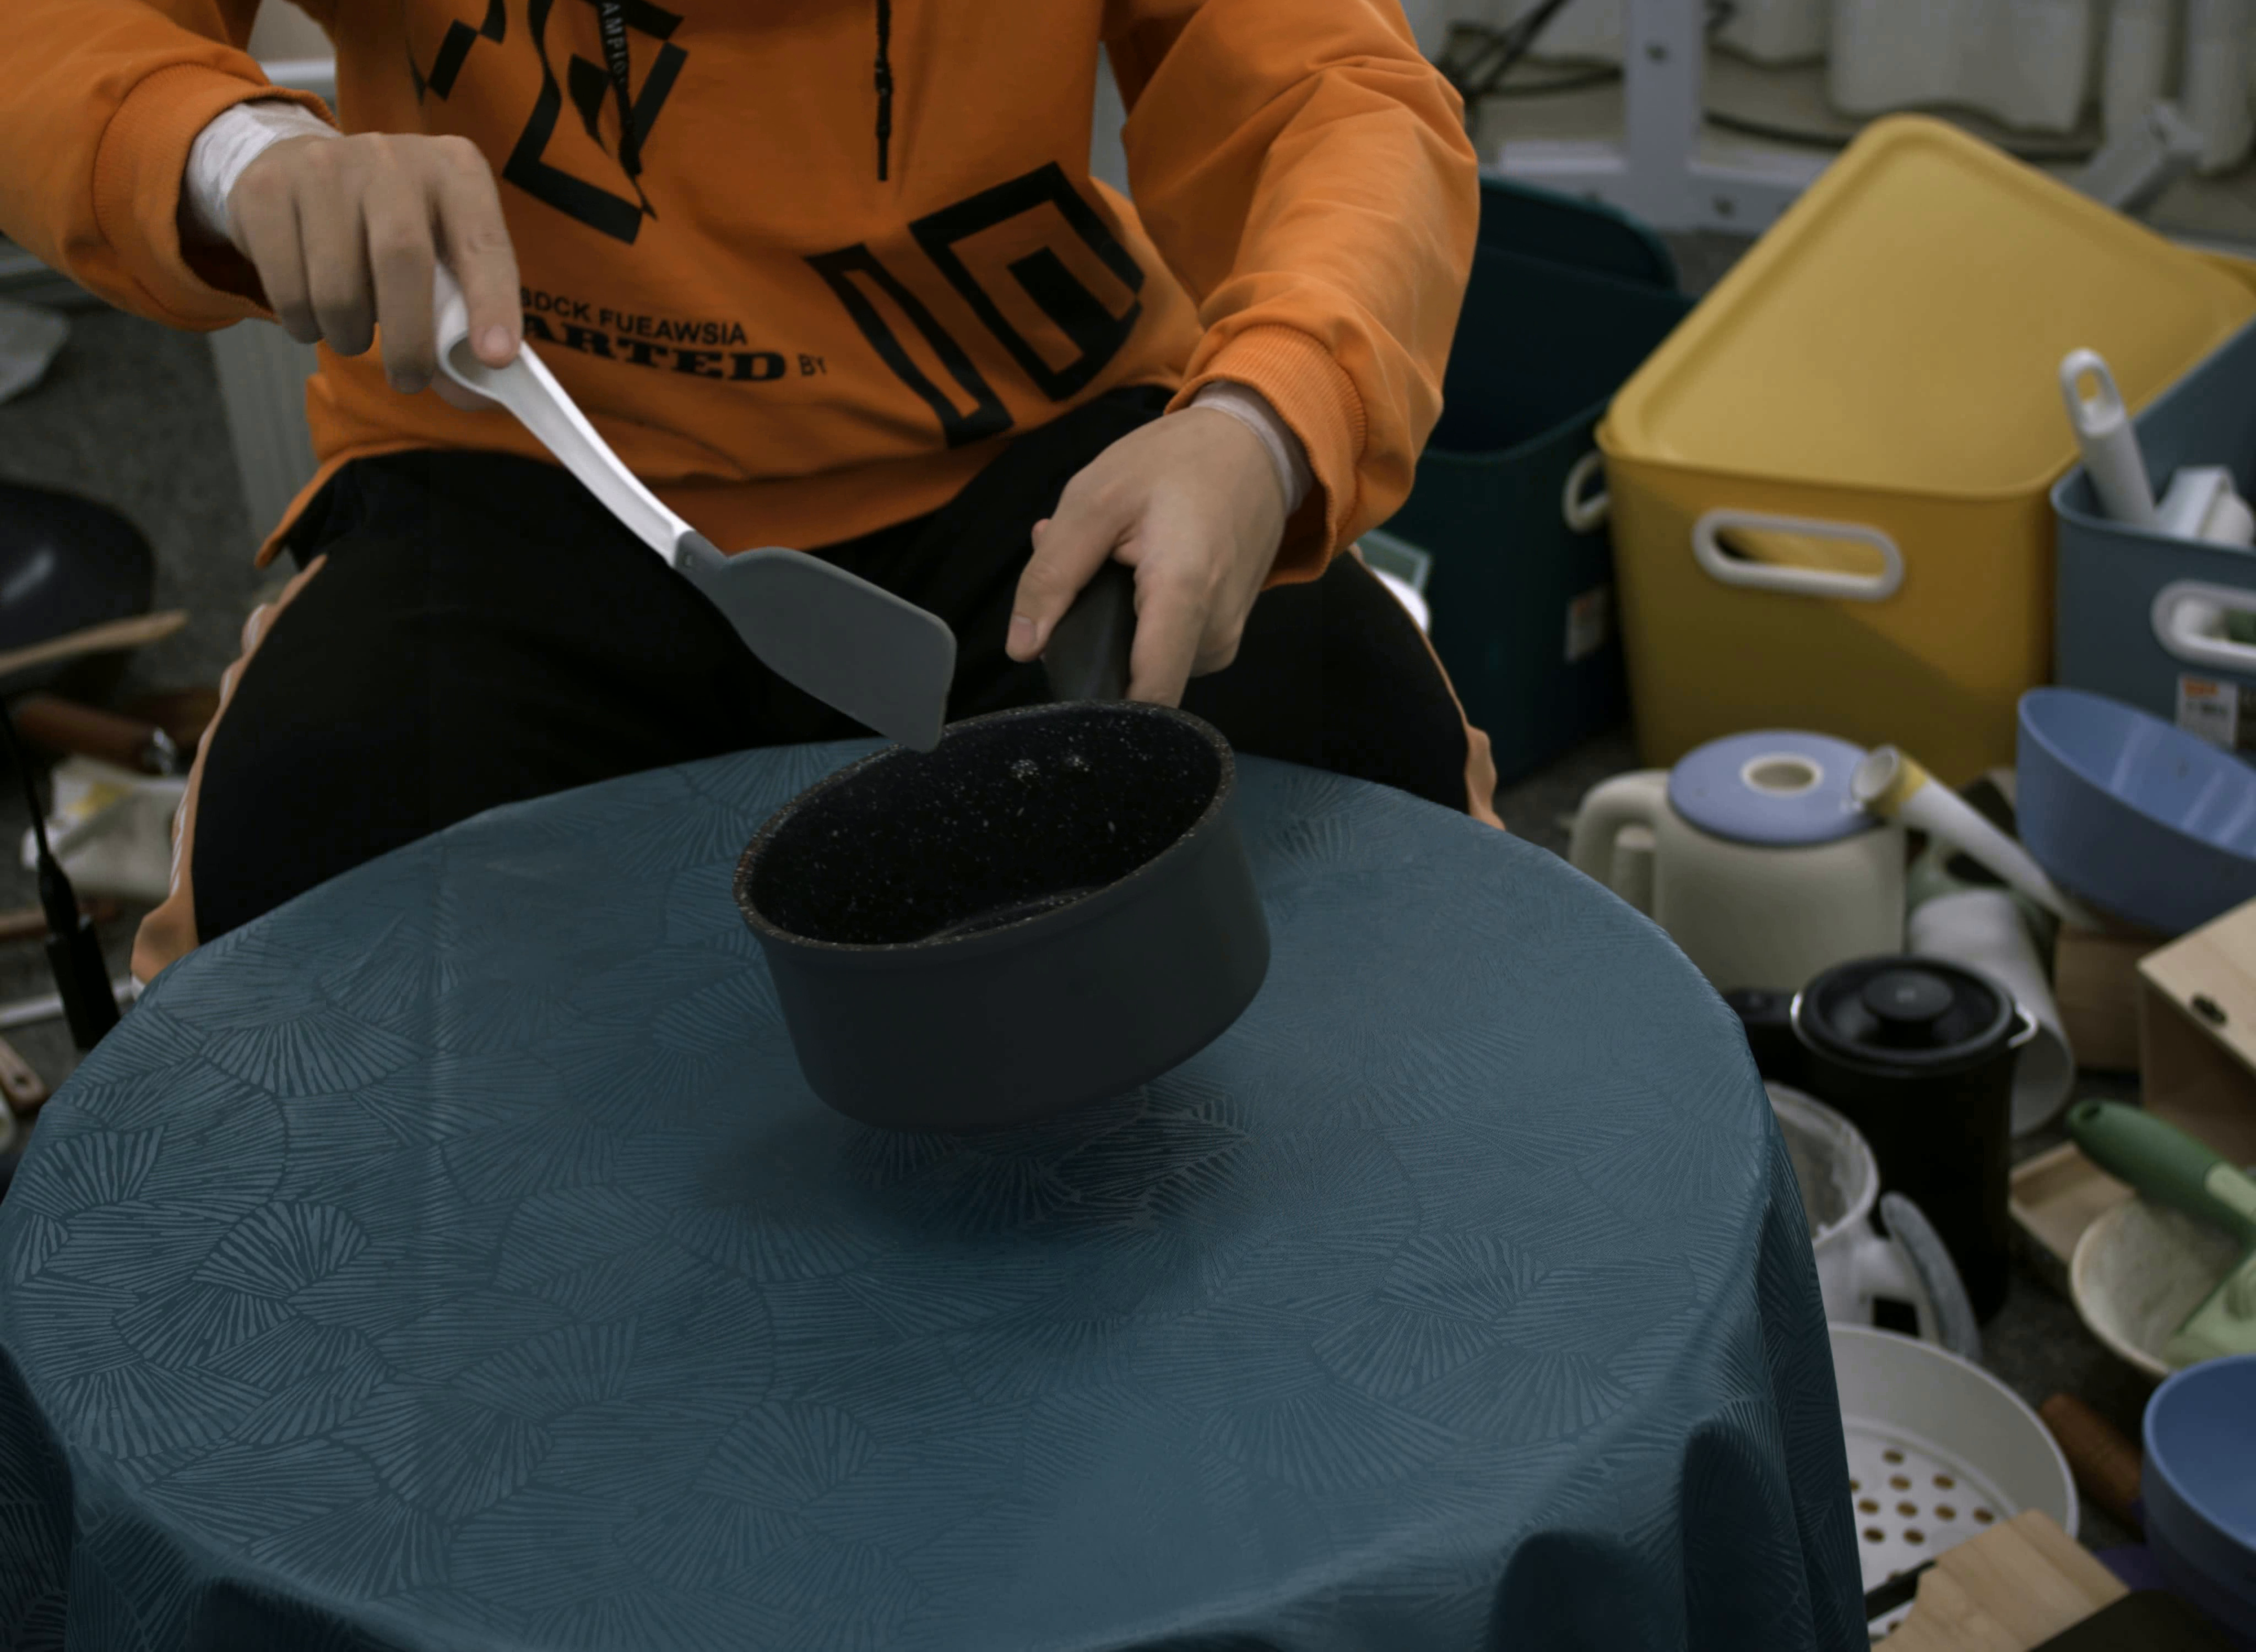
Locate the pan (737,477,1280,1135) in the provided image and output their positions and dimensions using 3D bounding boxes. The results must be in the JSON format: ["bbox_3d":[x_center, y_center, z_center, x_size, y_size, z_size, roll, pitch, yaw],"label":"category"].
[{"bbox_3d":[-0.019,-0.010,1.928,0.170,0.086,0.334,-6,27,19],"label":"pan"}]

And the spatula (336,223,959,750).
[{"bbox_3d":[-0.159,-0.114,1.837,0.032,0.058,0.288,-20,46,-42],"label":"spatula"}]
